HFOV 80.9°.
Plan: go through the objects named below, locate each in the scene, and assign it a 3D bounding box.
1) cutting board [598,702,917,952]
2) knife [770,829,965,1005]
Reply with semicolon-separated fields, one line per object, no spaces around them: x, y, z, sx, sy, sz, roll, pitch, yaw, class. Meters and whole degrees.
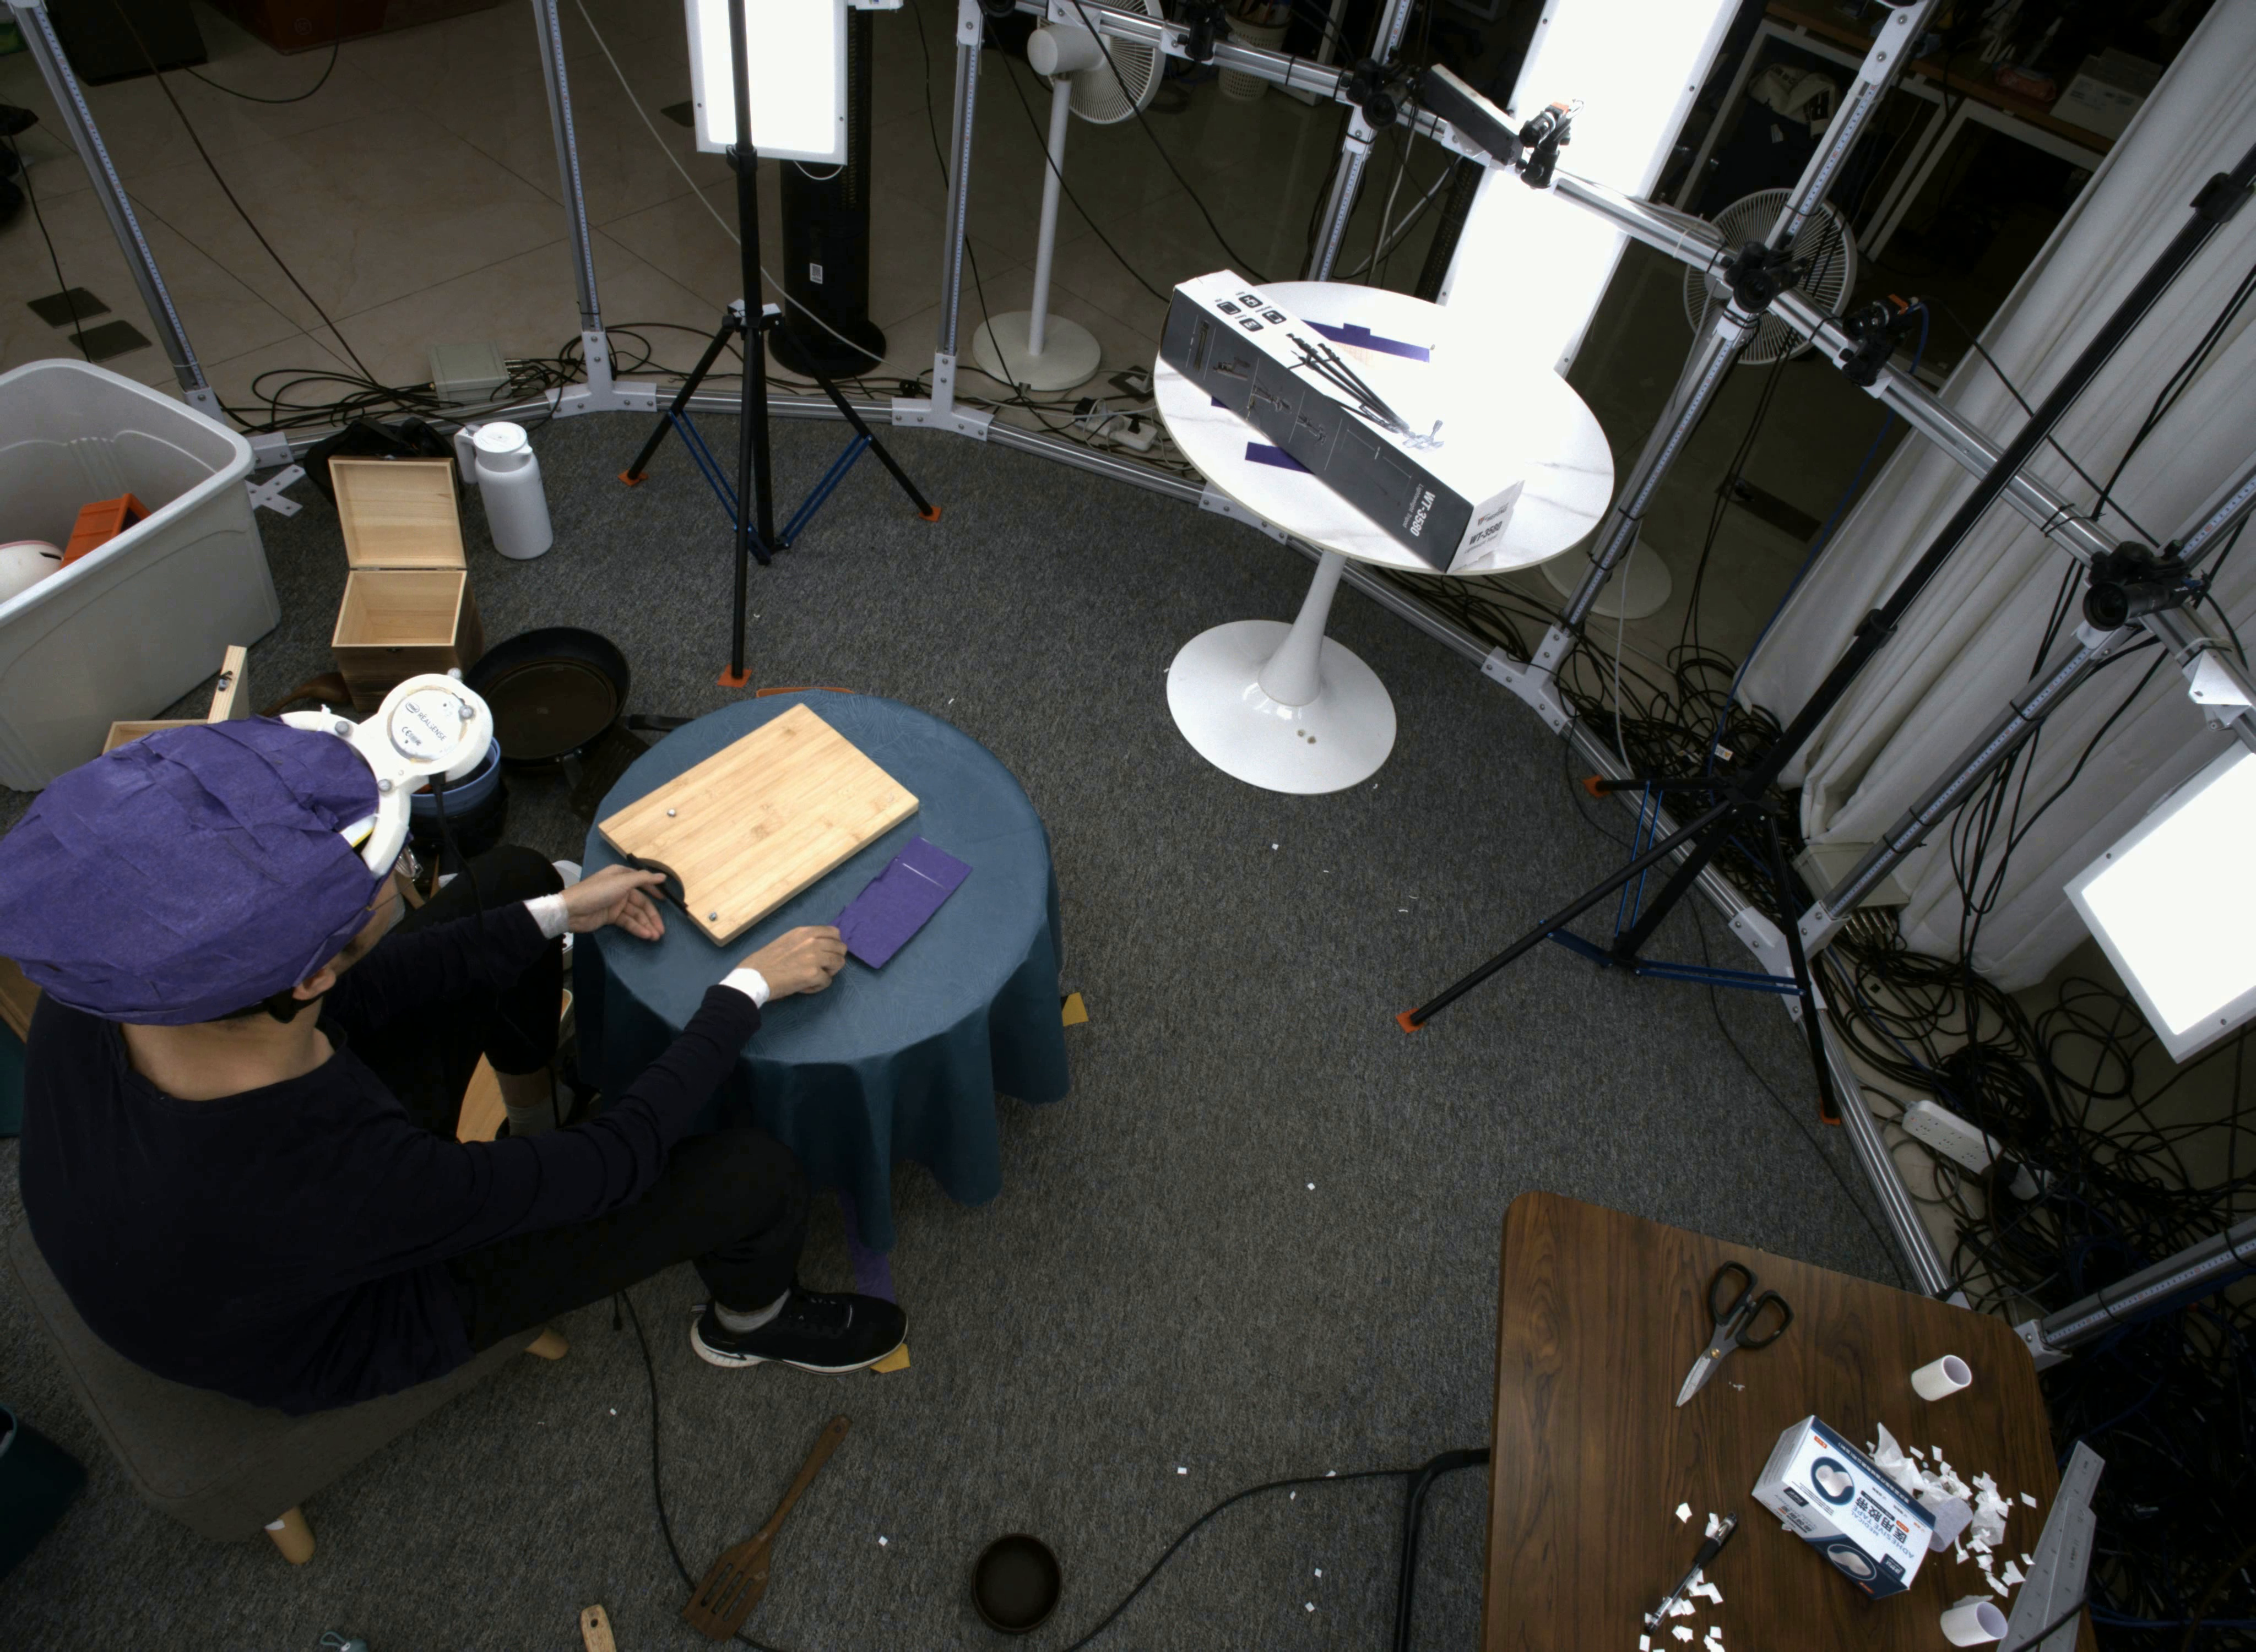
-0.484;-0.010;1.709;0.245;0.024;0.349;38;52;15;cutting board
-0.321;0.121;1.652;0.102;0.033;0.314;31;52;9;knife
